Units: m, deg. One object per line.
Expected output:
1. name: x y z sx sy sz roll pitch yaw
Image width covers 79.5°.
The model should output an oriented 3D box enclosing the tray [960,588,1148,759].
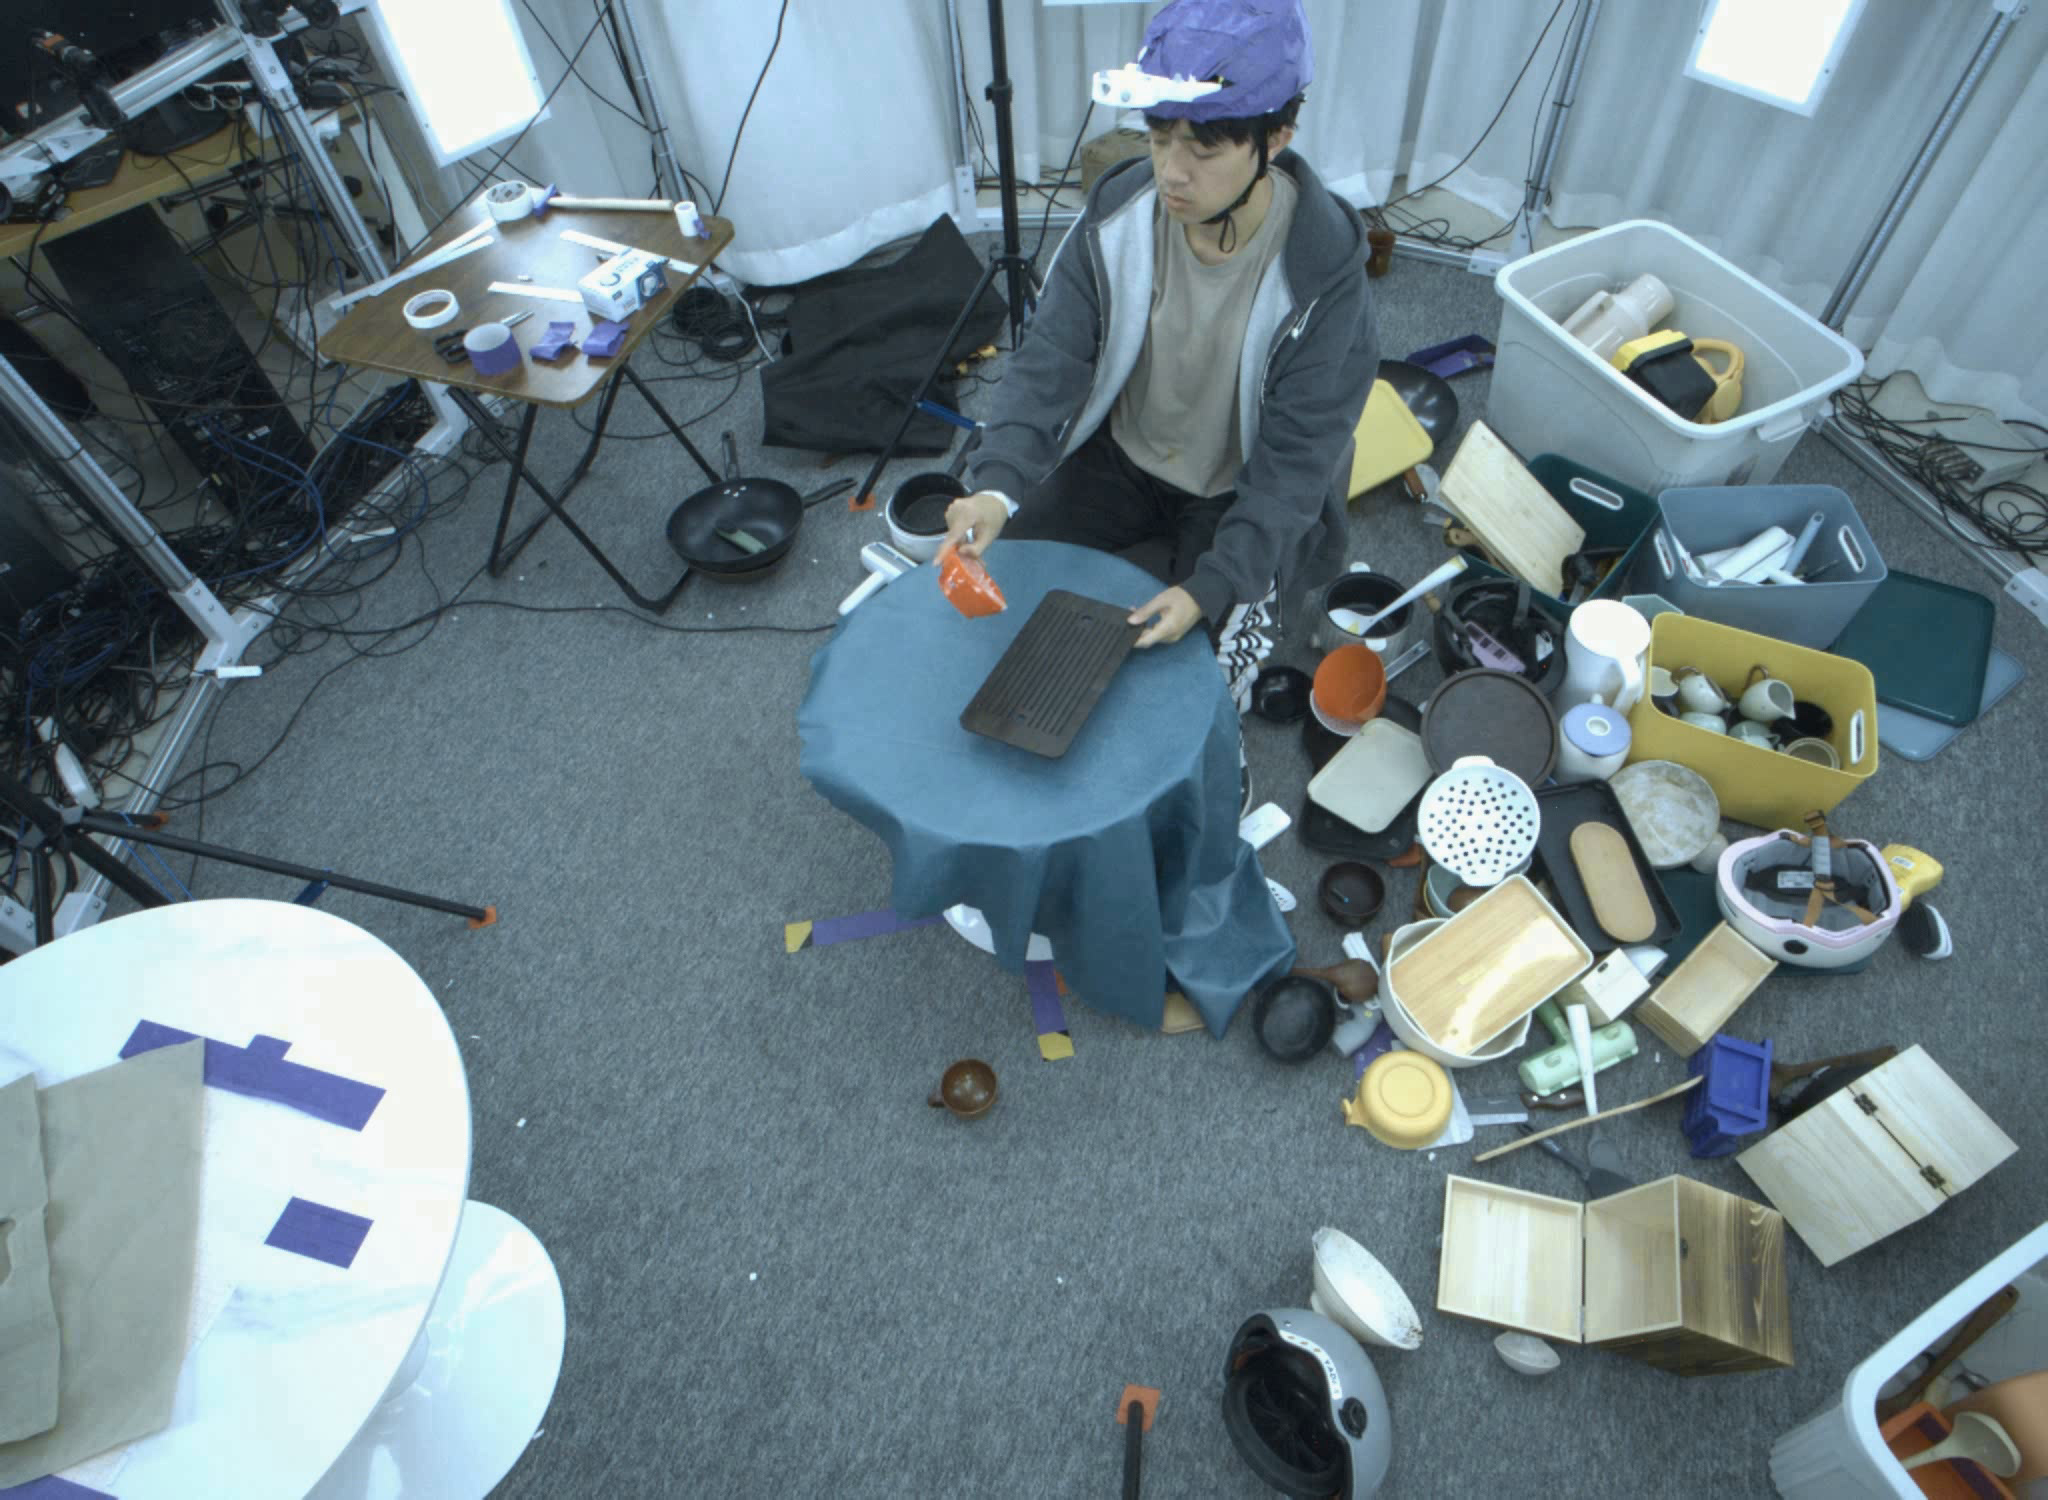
1. tray: 0.048 -0.117 1.818 0.167 0.019 0.306 20 56 19

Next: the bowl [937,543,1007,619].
1. bowl: -0.081 -0.228 1.713 0.051 0.121 0.117 -39 56 16
